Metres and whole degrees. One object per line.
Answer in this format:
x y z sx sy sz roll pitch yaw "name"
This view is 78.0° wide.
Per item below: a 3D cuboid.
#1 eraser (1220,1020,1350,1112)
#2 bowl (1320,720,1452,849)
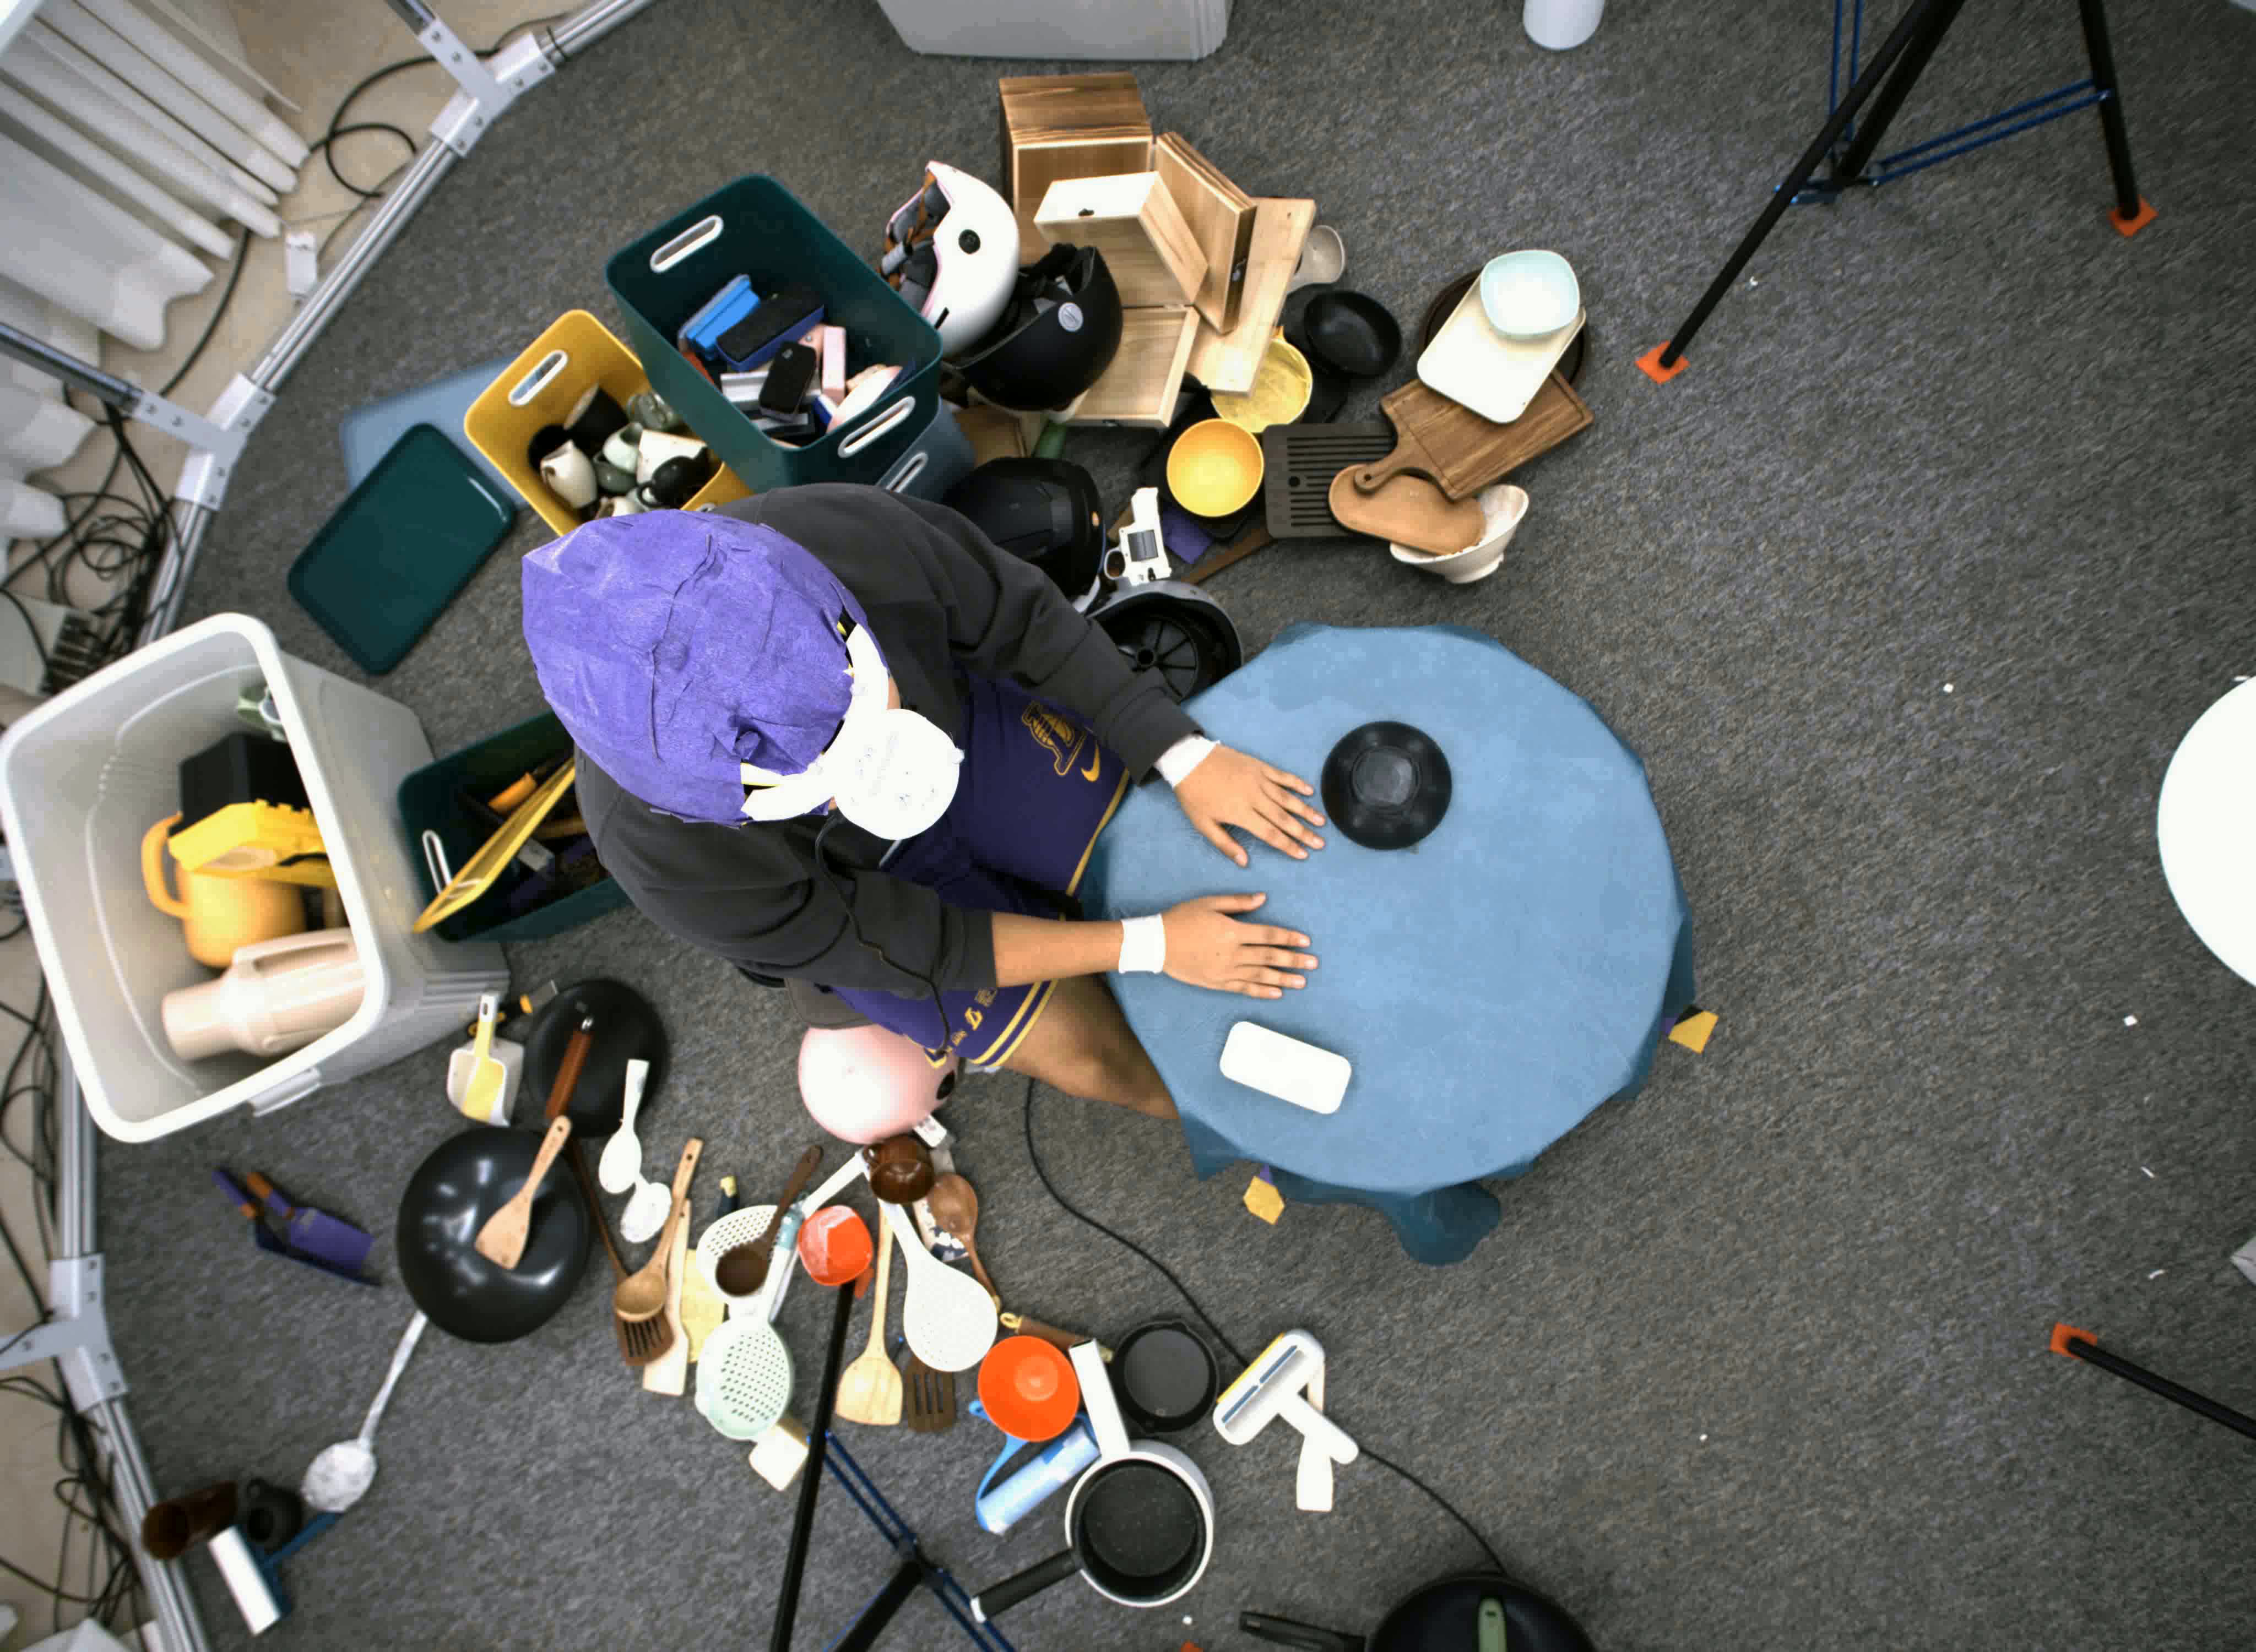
0.164 0.249 1.453 0.131 0.034 0.063 21 89 9 "eraser"
0.269 -0.047 1.440 0.140 0.050 0.139 -1 88 10 "bowl"
